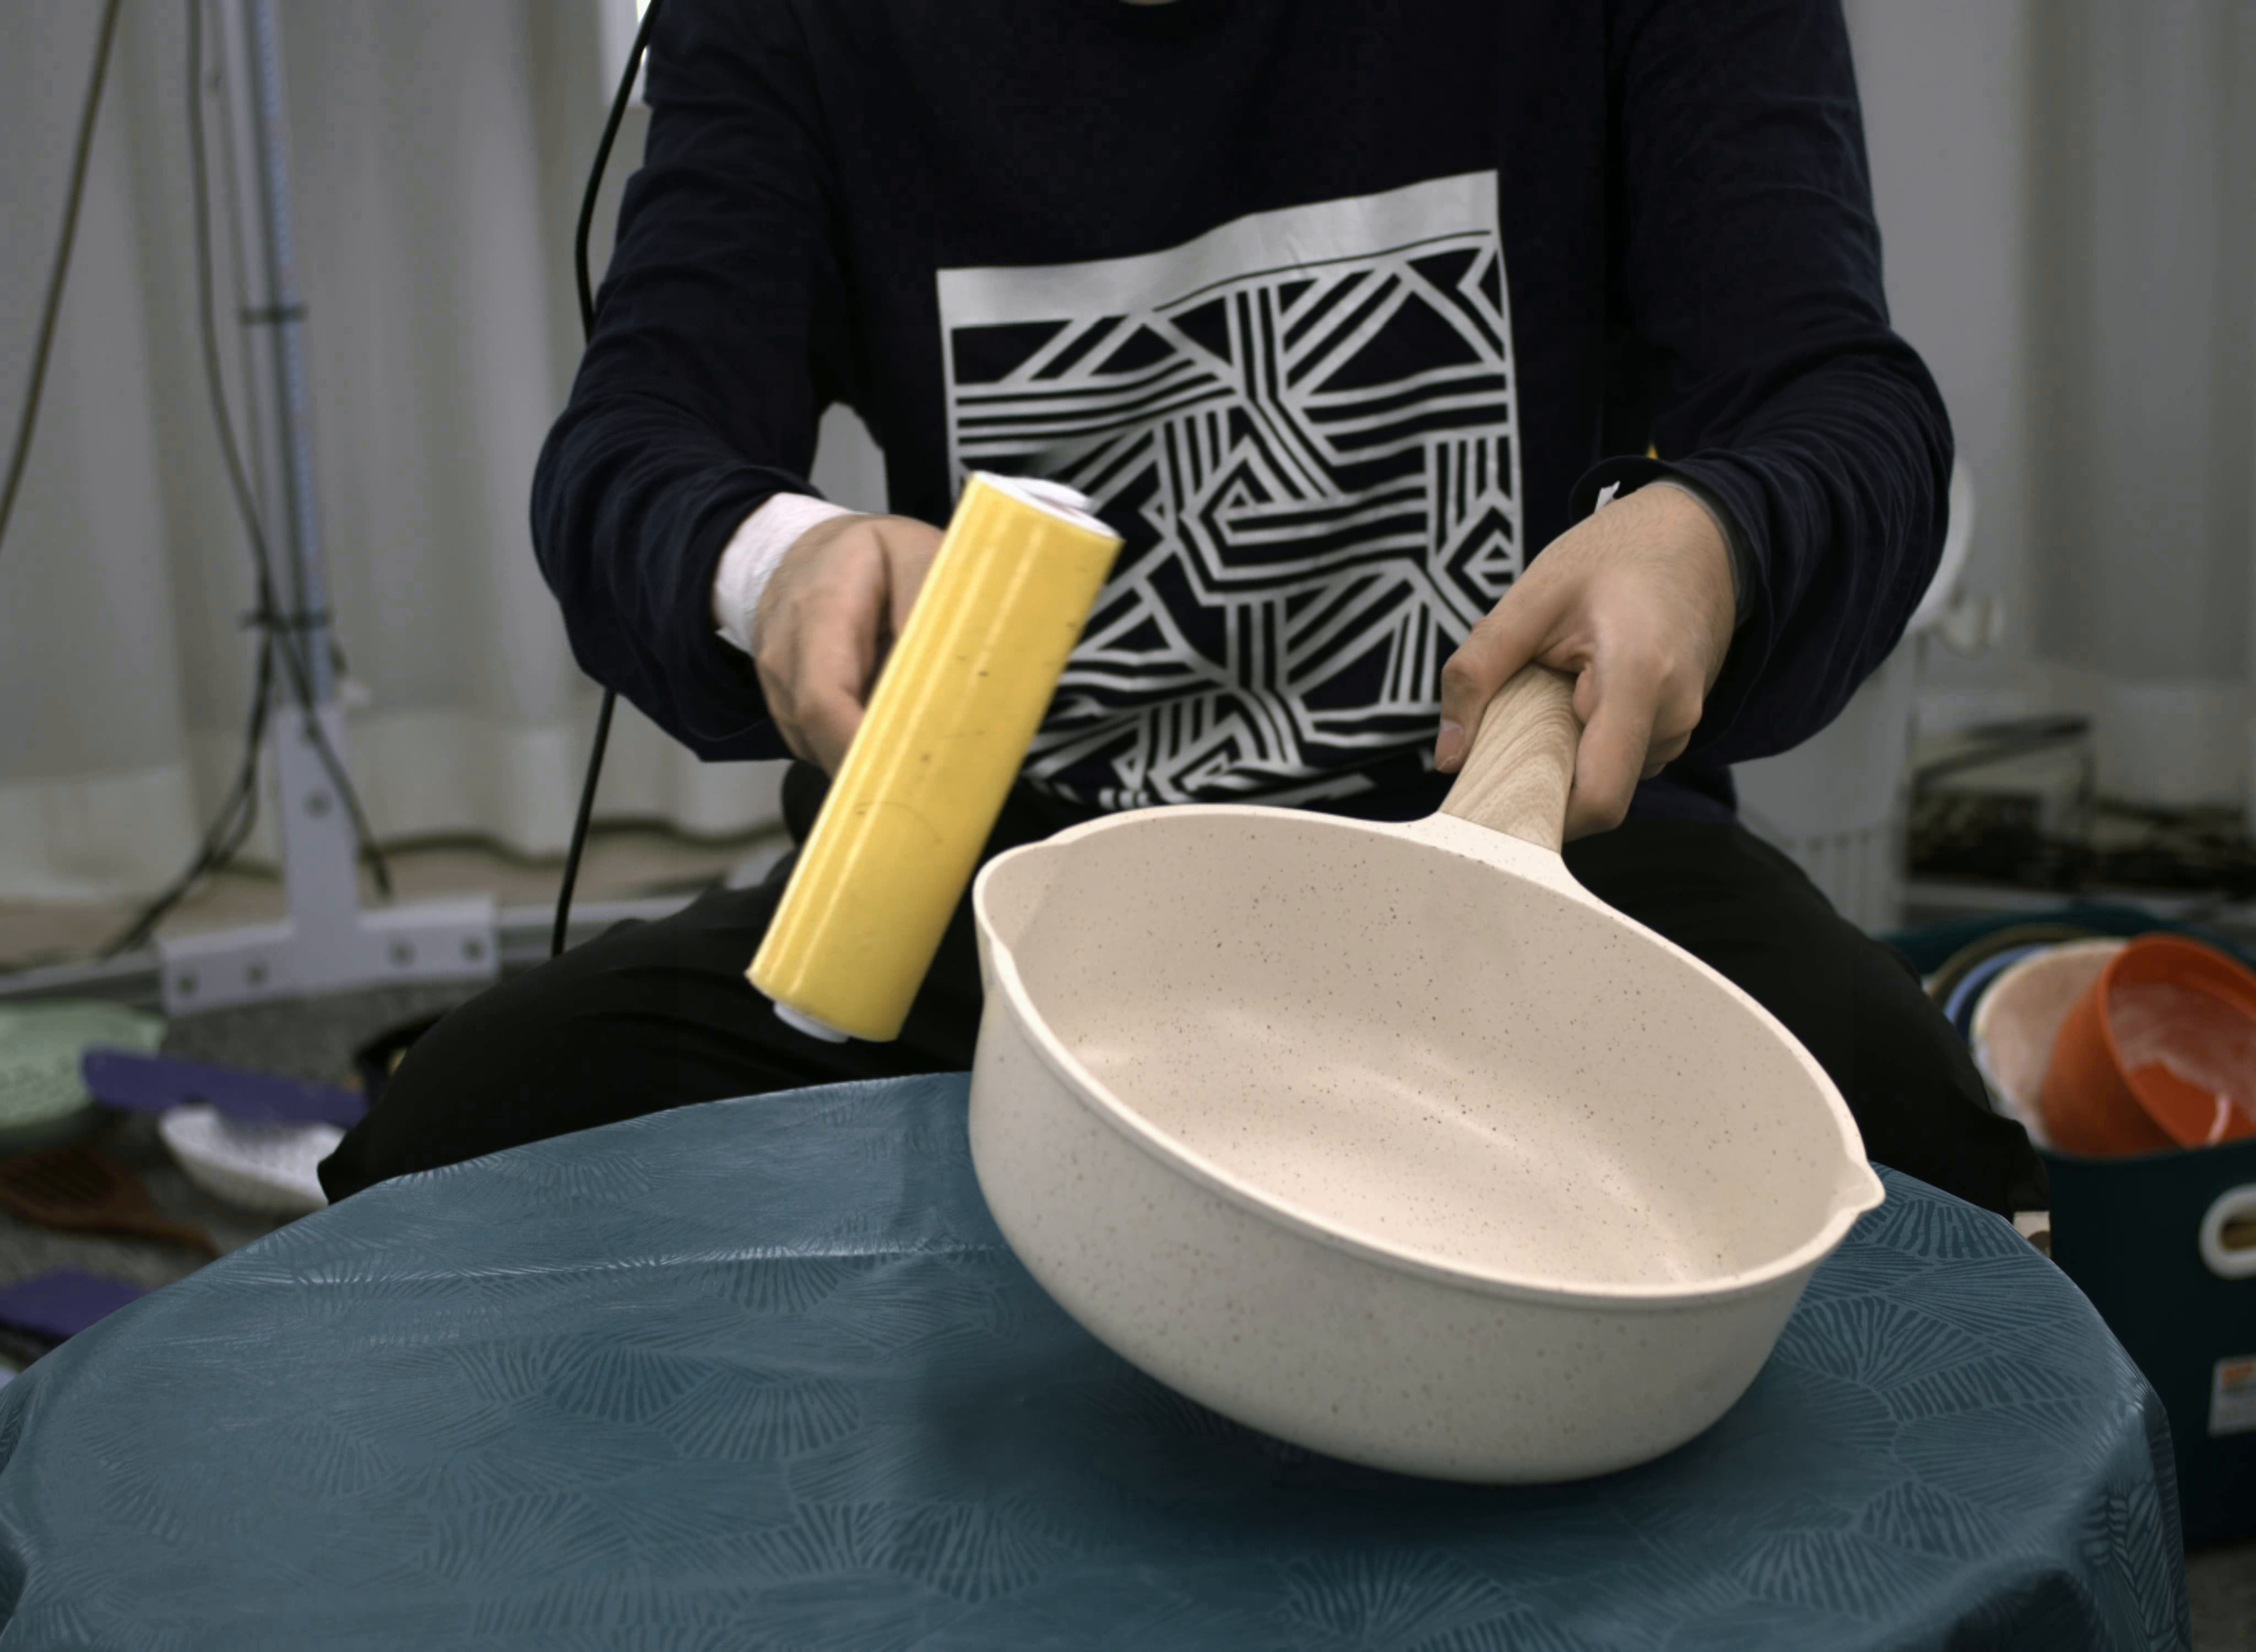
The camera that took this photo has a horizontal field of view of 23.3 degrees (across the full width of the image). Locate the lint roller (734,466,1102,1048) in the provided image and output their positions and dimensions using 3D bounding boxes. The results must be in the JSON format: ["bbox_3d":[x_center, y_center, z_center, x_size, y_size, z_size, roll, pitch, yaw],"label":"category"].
[{"bbox_3d":[-0.078,-0.035,1.642,0.051,0.174,0.193,22,6,-19],"label":"lint roller"}]

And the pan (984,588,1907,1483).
[{"bbox_3d":[0.095,0.051,1.592,0.263,0.101,0.438,17,24,4],"label":"pan"}]
